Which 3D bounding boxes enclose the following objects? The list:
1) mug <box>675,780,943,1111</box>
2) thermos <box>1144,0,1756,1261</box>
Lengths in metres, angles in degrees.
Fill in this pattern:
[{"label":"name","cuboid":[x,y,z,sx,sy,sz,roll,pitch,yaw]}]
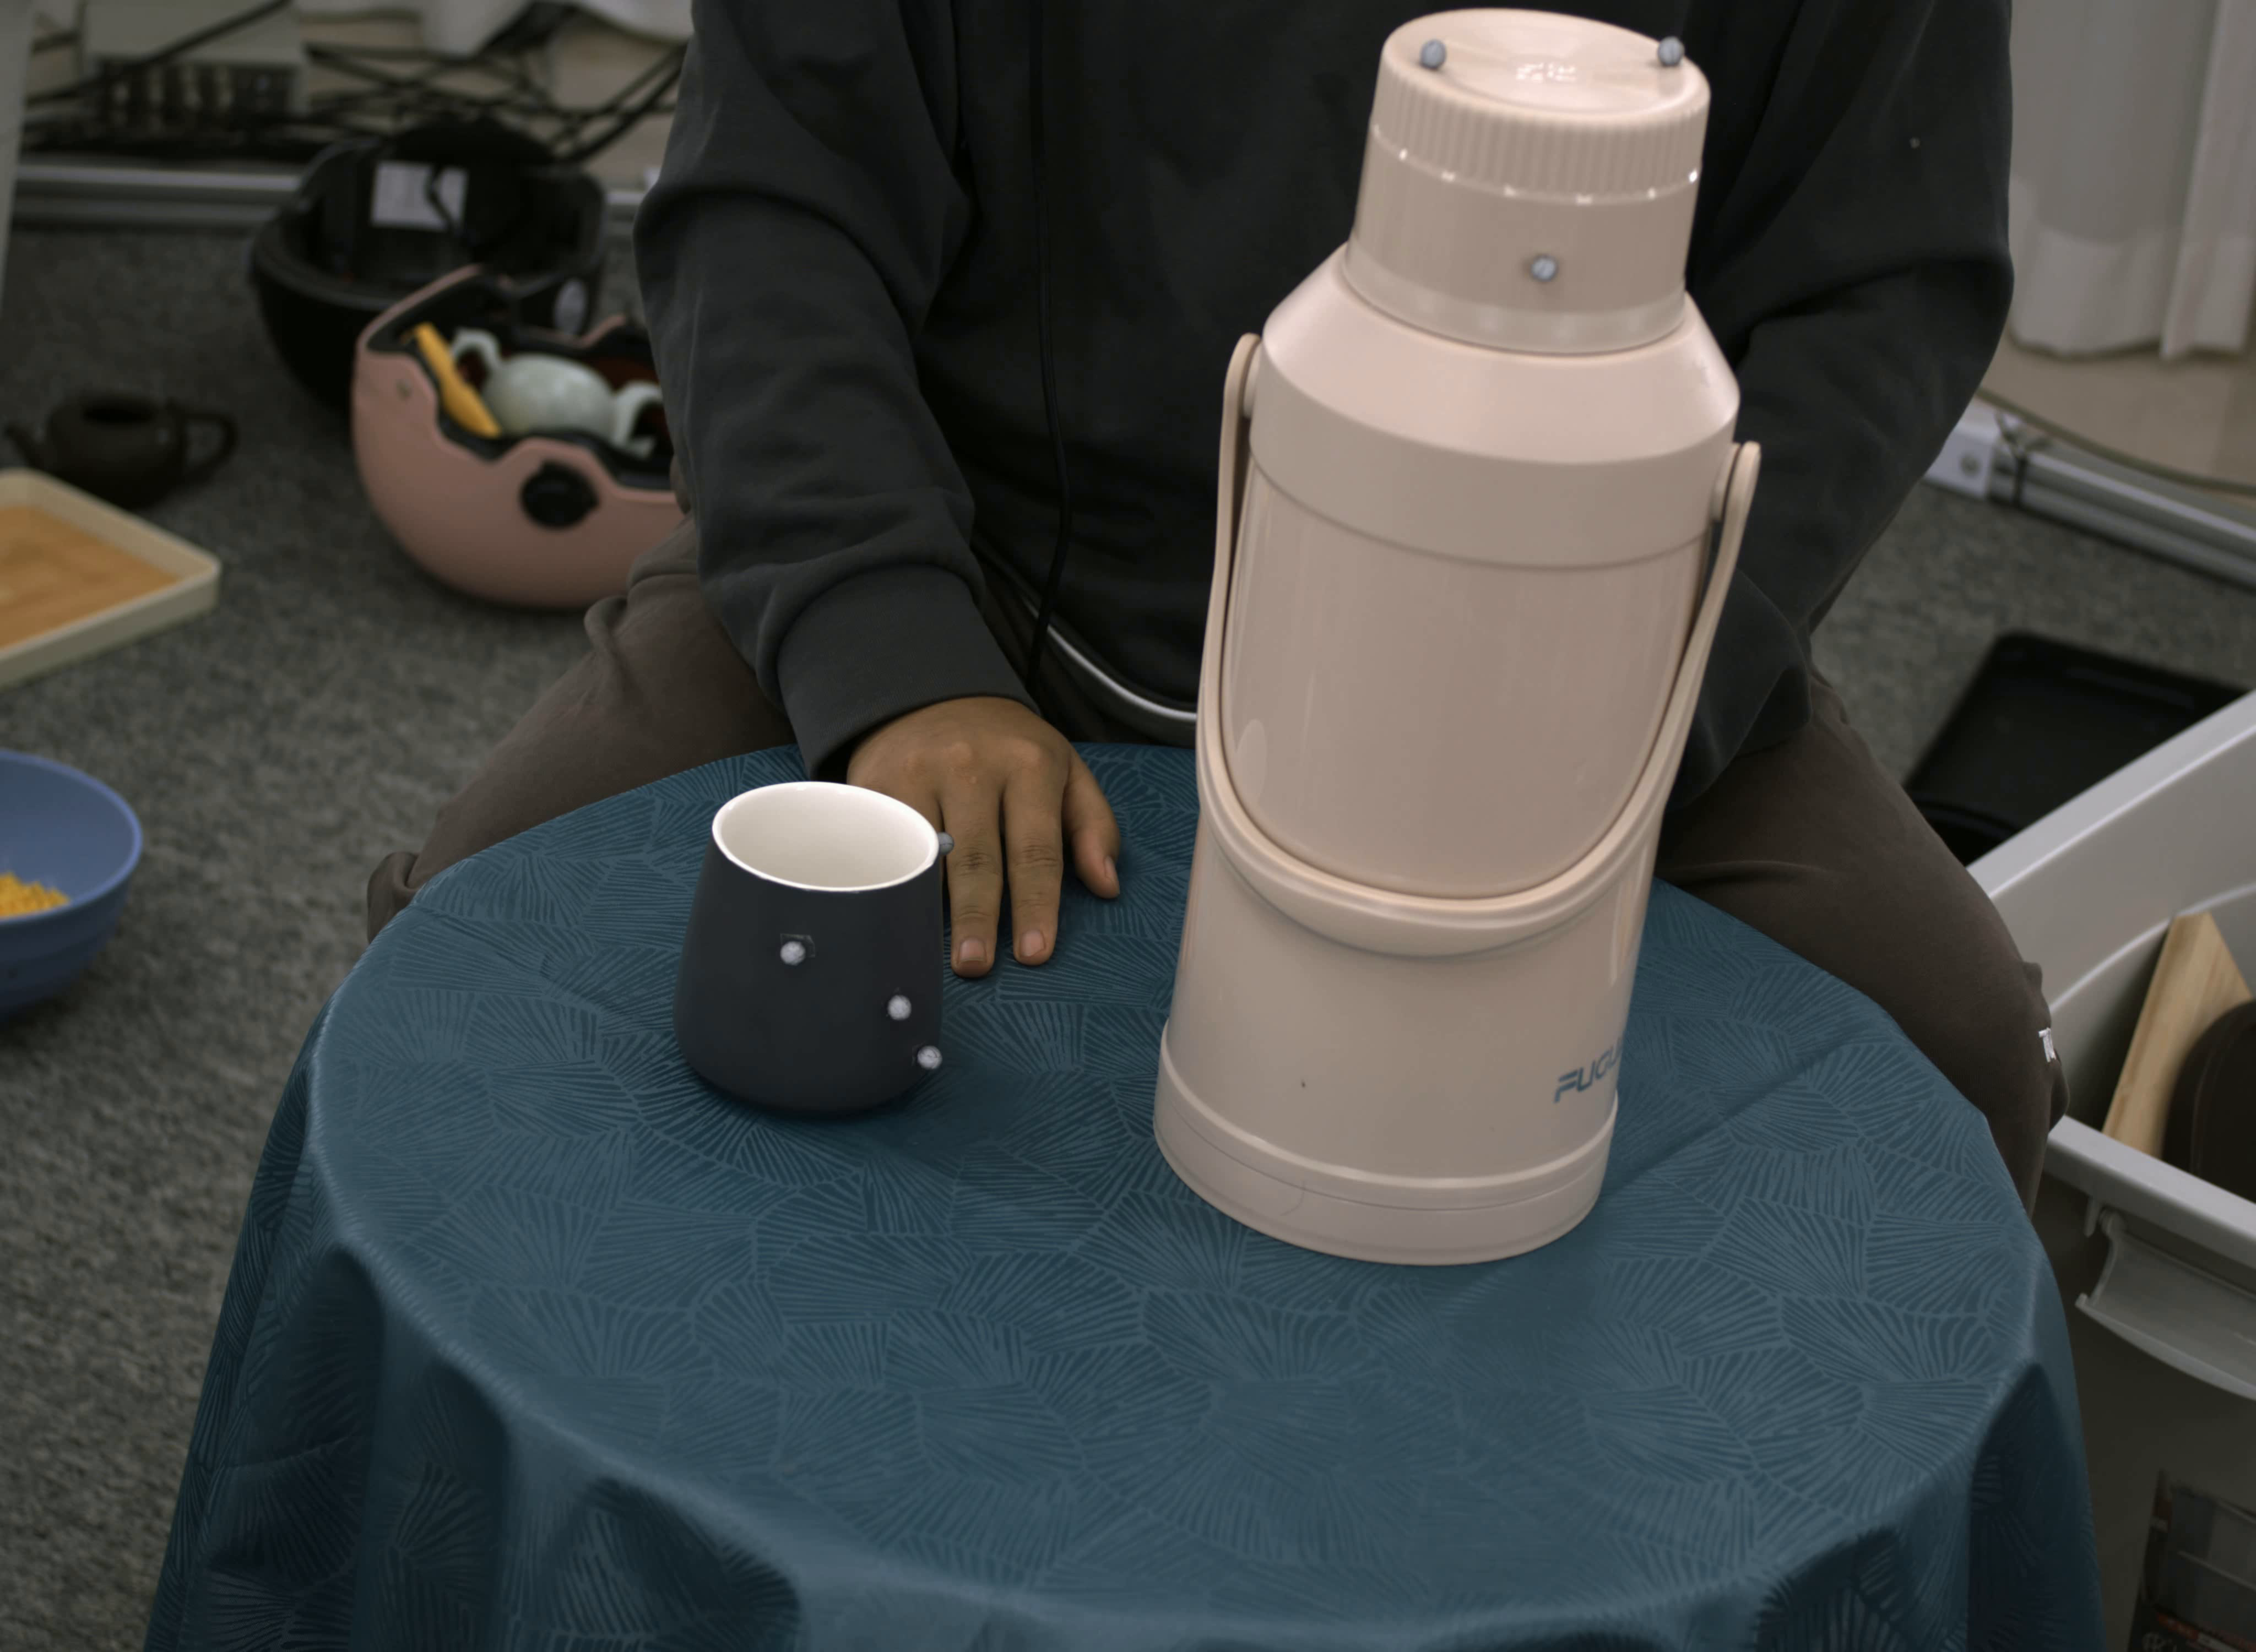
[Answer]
[{"label":"mug","cuboid":[-0.106,0.035,1.854,0.093,0.089,0.124,10,27,5]},{"label":"thermos","cuboid":[0.112,-0.070,1.778,0.175,0.405,0.207,13,27,12]}]
